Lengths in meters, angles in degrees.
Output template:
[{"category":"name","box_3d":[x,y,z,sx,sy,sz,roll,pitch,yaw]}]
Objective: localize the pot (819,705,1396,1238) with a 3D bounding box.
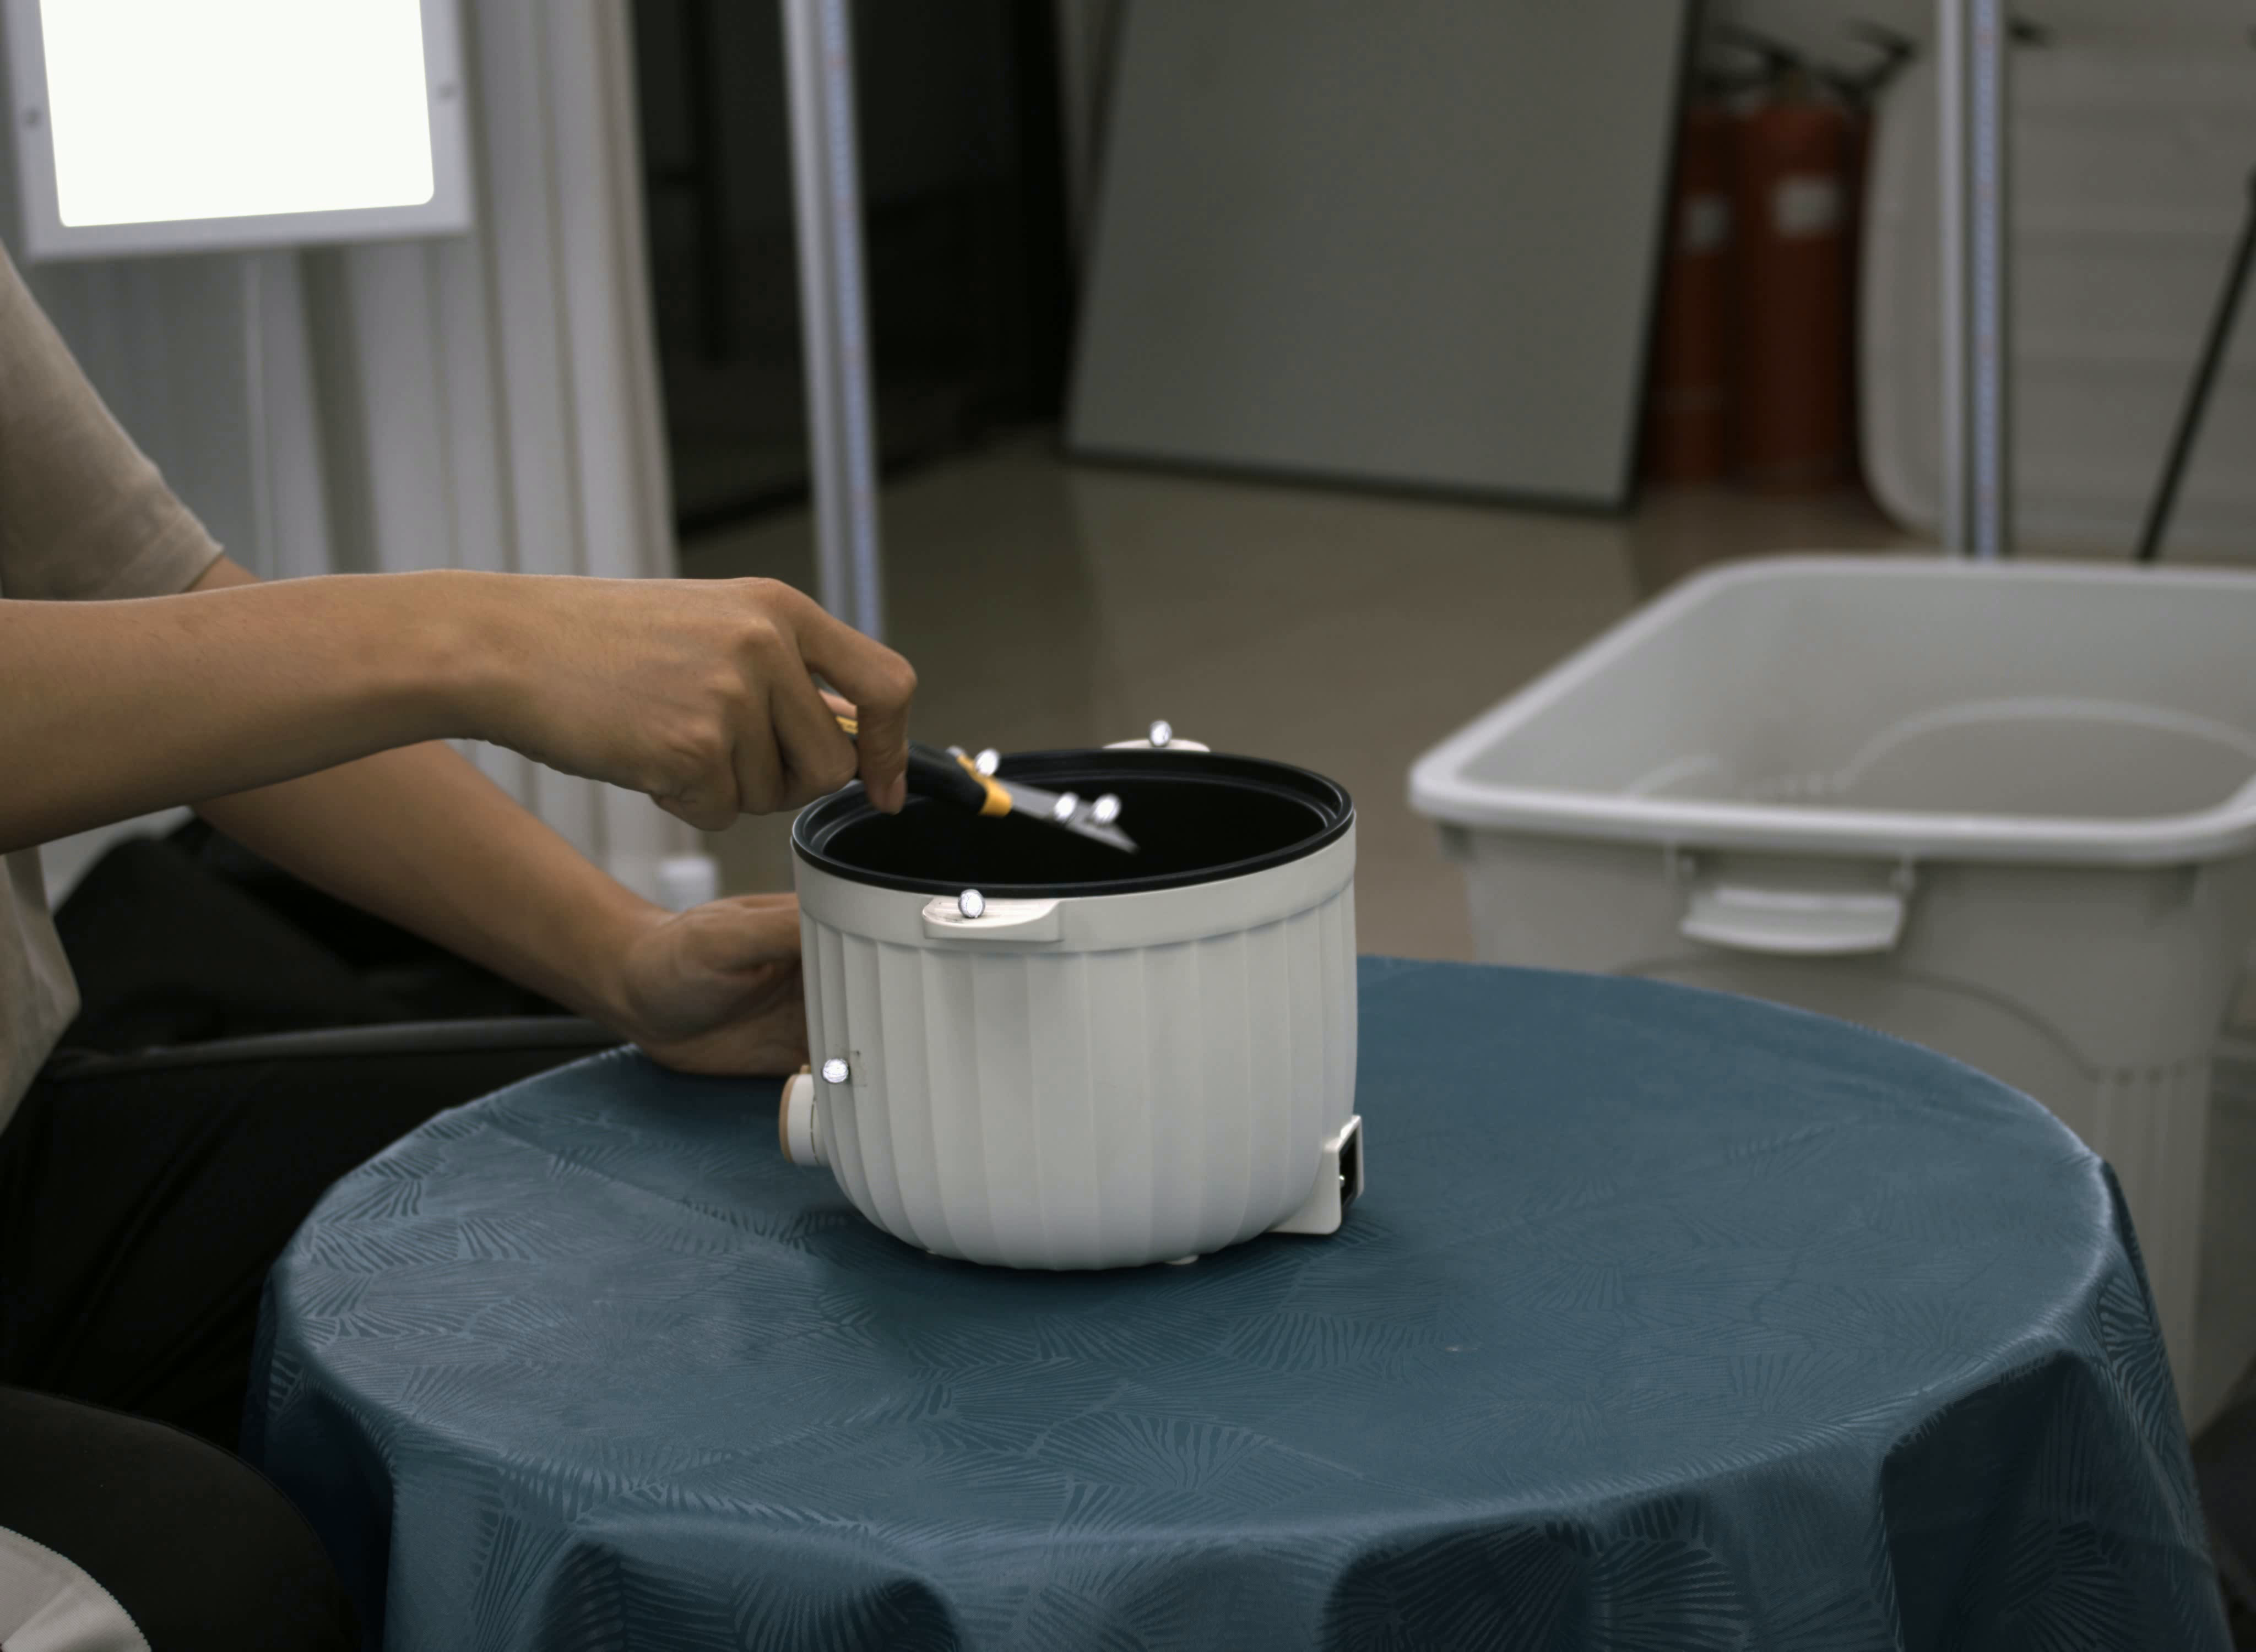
[{"category":"pot","box_3d":[-0.007,0.050,1.747,0.189,0.144,0.238,4,14,14]}]

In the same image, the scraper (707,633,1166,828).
[{"category":"scraper","box_3d":[-0.060,-0.029,1.700,0.167,0.015,0.039,18,20,-33]}]
